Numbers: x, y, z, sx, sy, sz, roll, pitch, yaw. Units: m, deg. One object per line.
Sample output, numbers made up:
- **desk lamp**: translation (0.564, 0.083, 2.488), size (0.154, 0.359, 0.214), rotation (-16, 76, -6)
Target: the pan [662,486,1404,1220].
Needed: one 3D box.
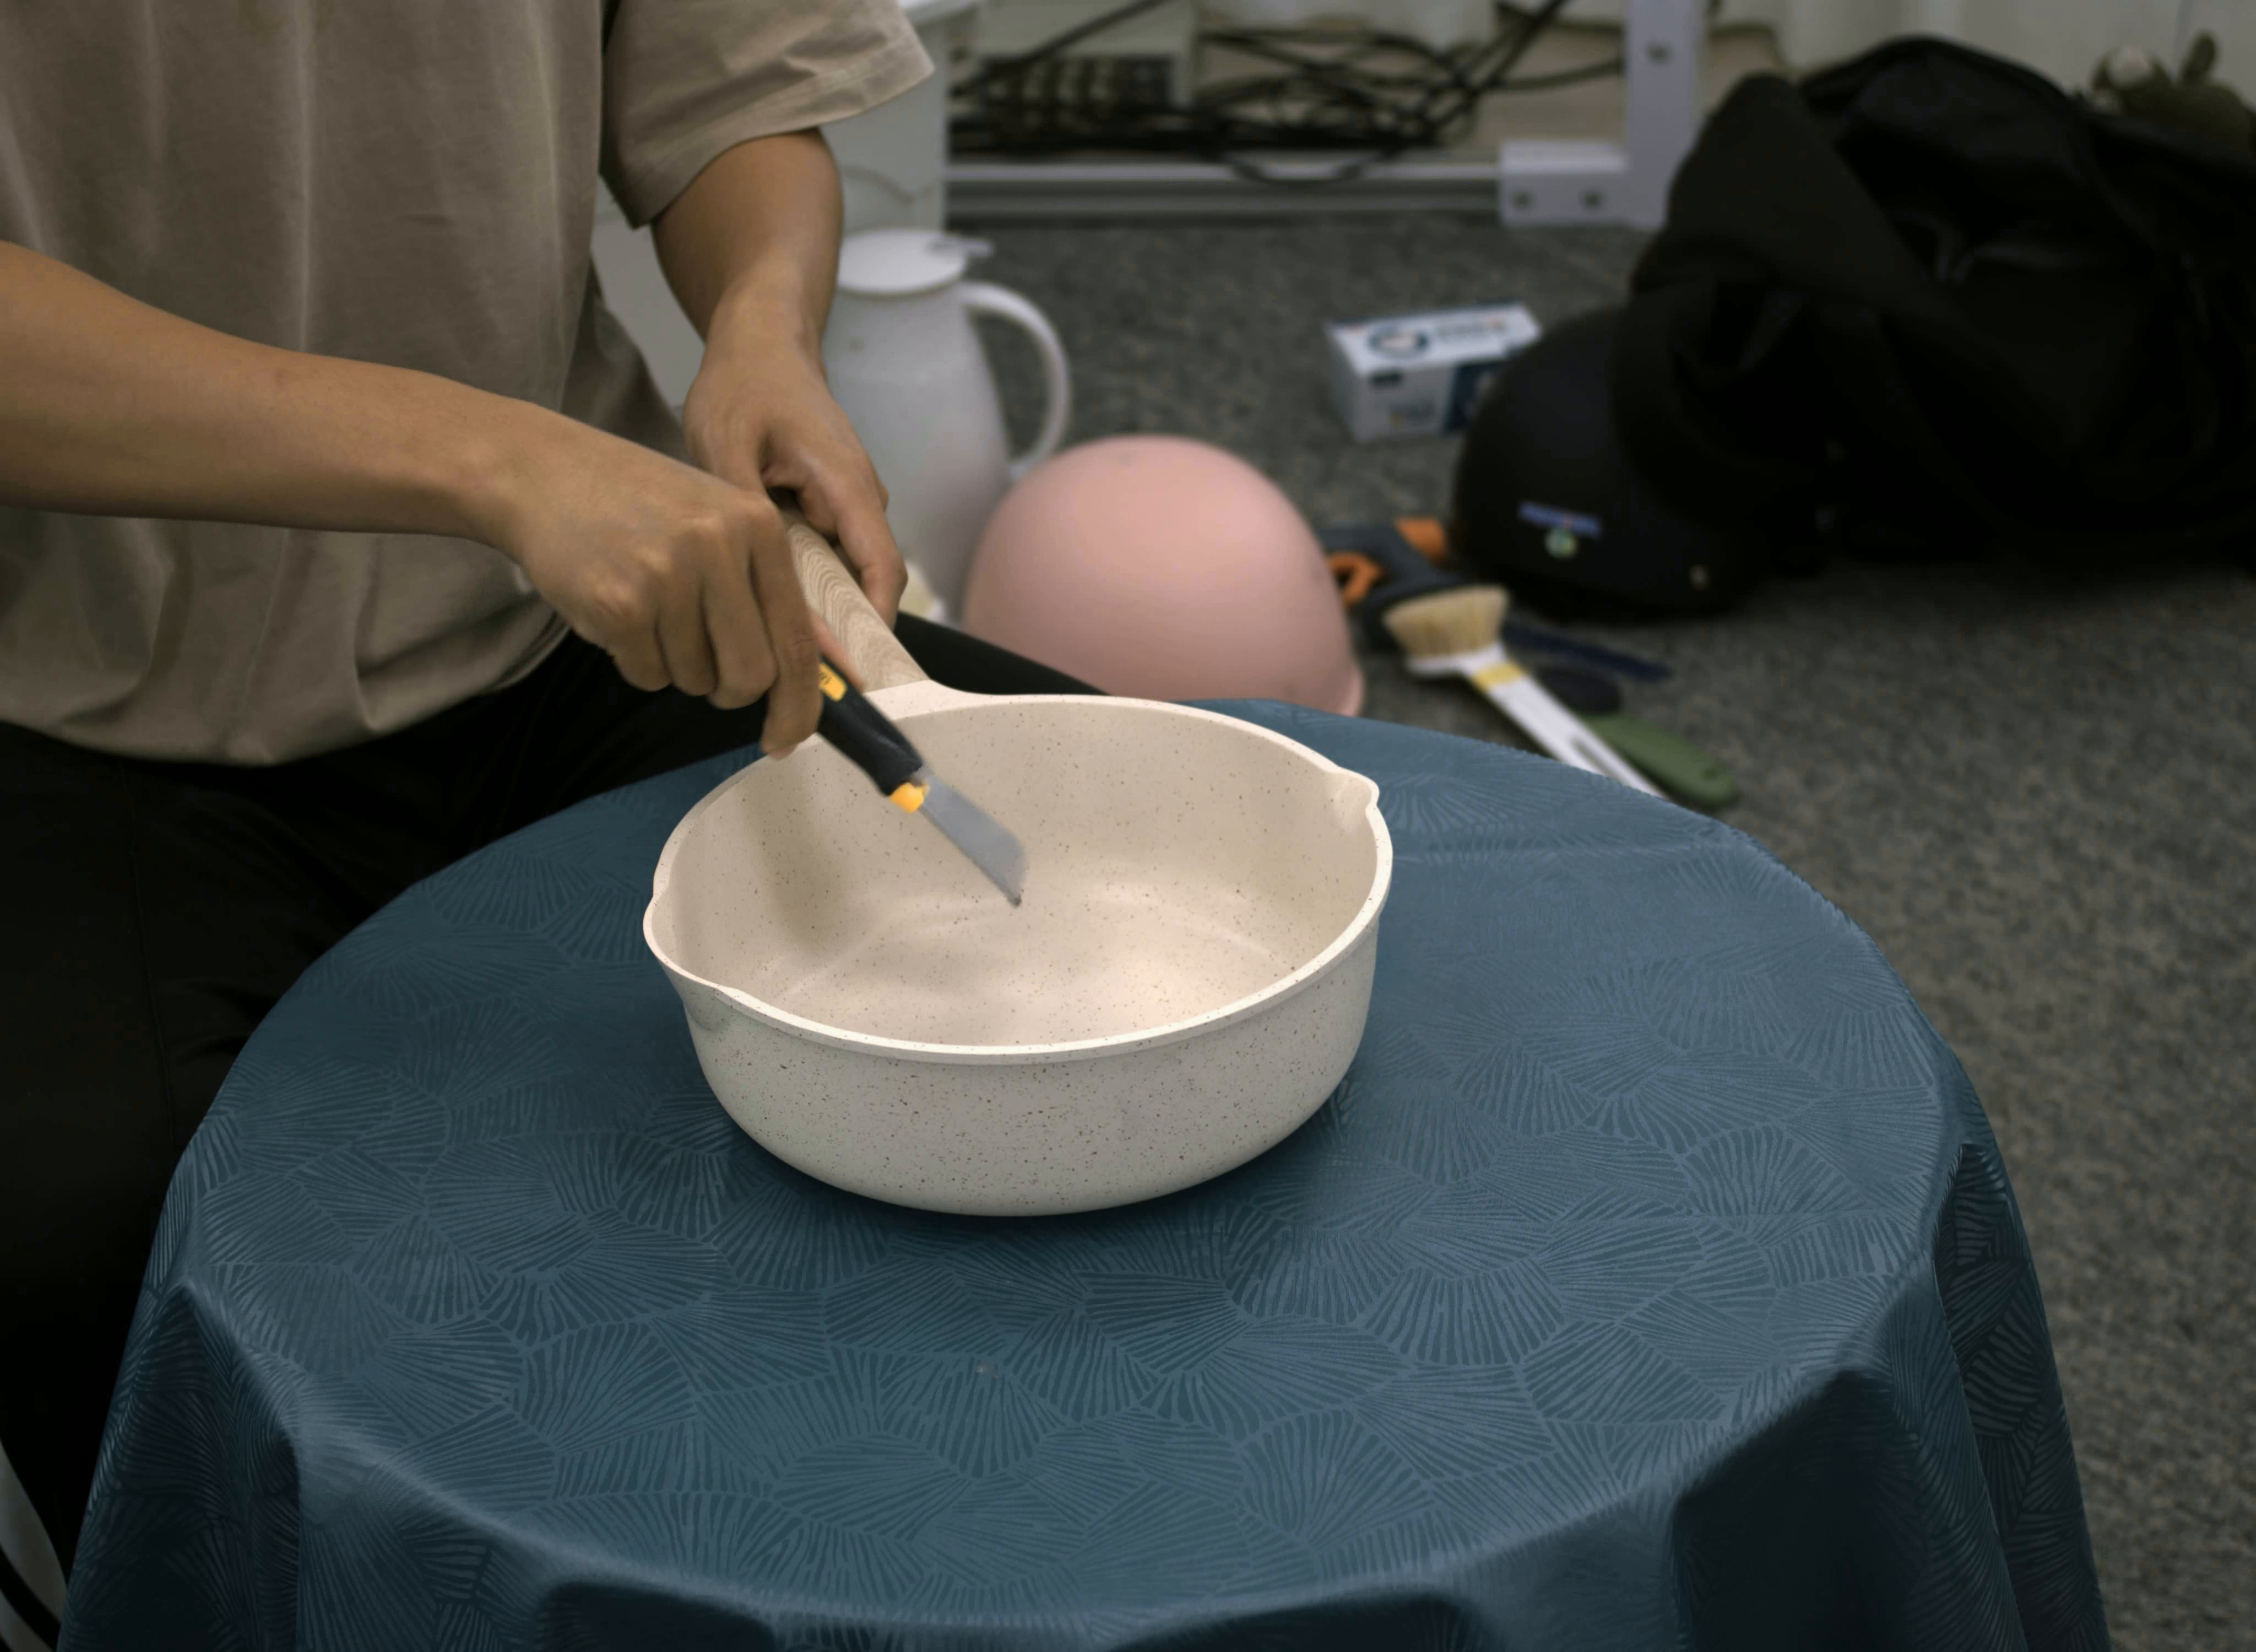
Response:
- **pan**: translation (-0.064, 0.004, 1.993), size (0.264, 0.101, 0.438), rotation (-15, 30, -18)

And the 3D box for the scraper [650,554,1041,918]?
- **scraper**: translation (-0.098, -0.032, 1.933), size (0.014, 0.170, 0.039), rotation (-37, 18, 40)
